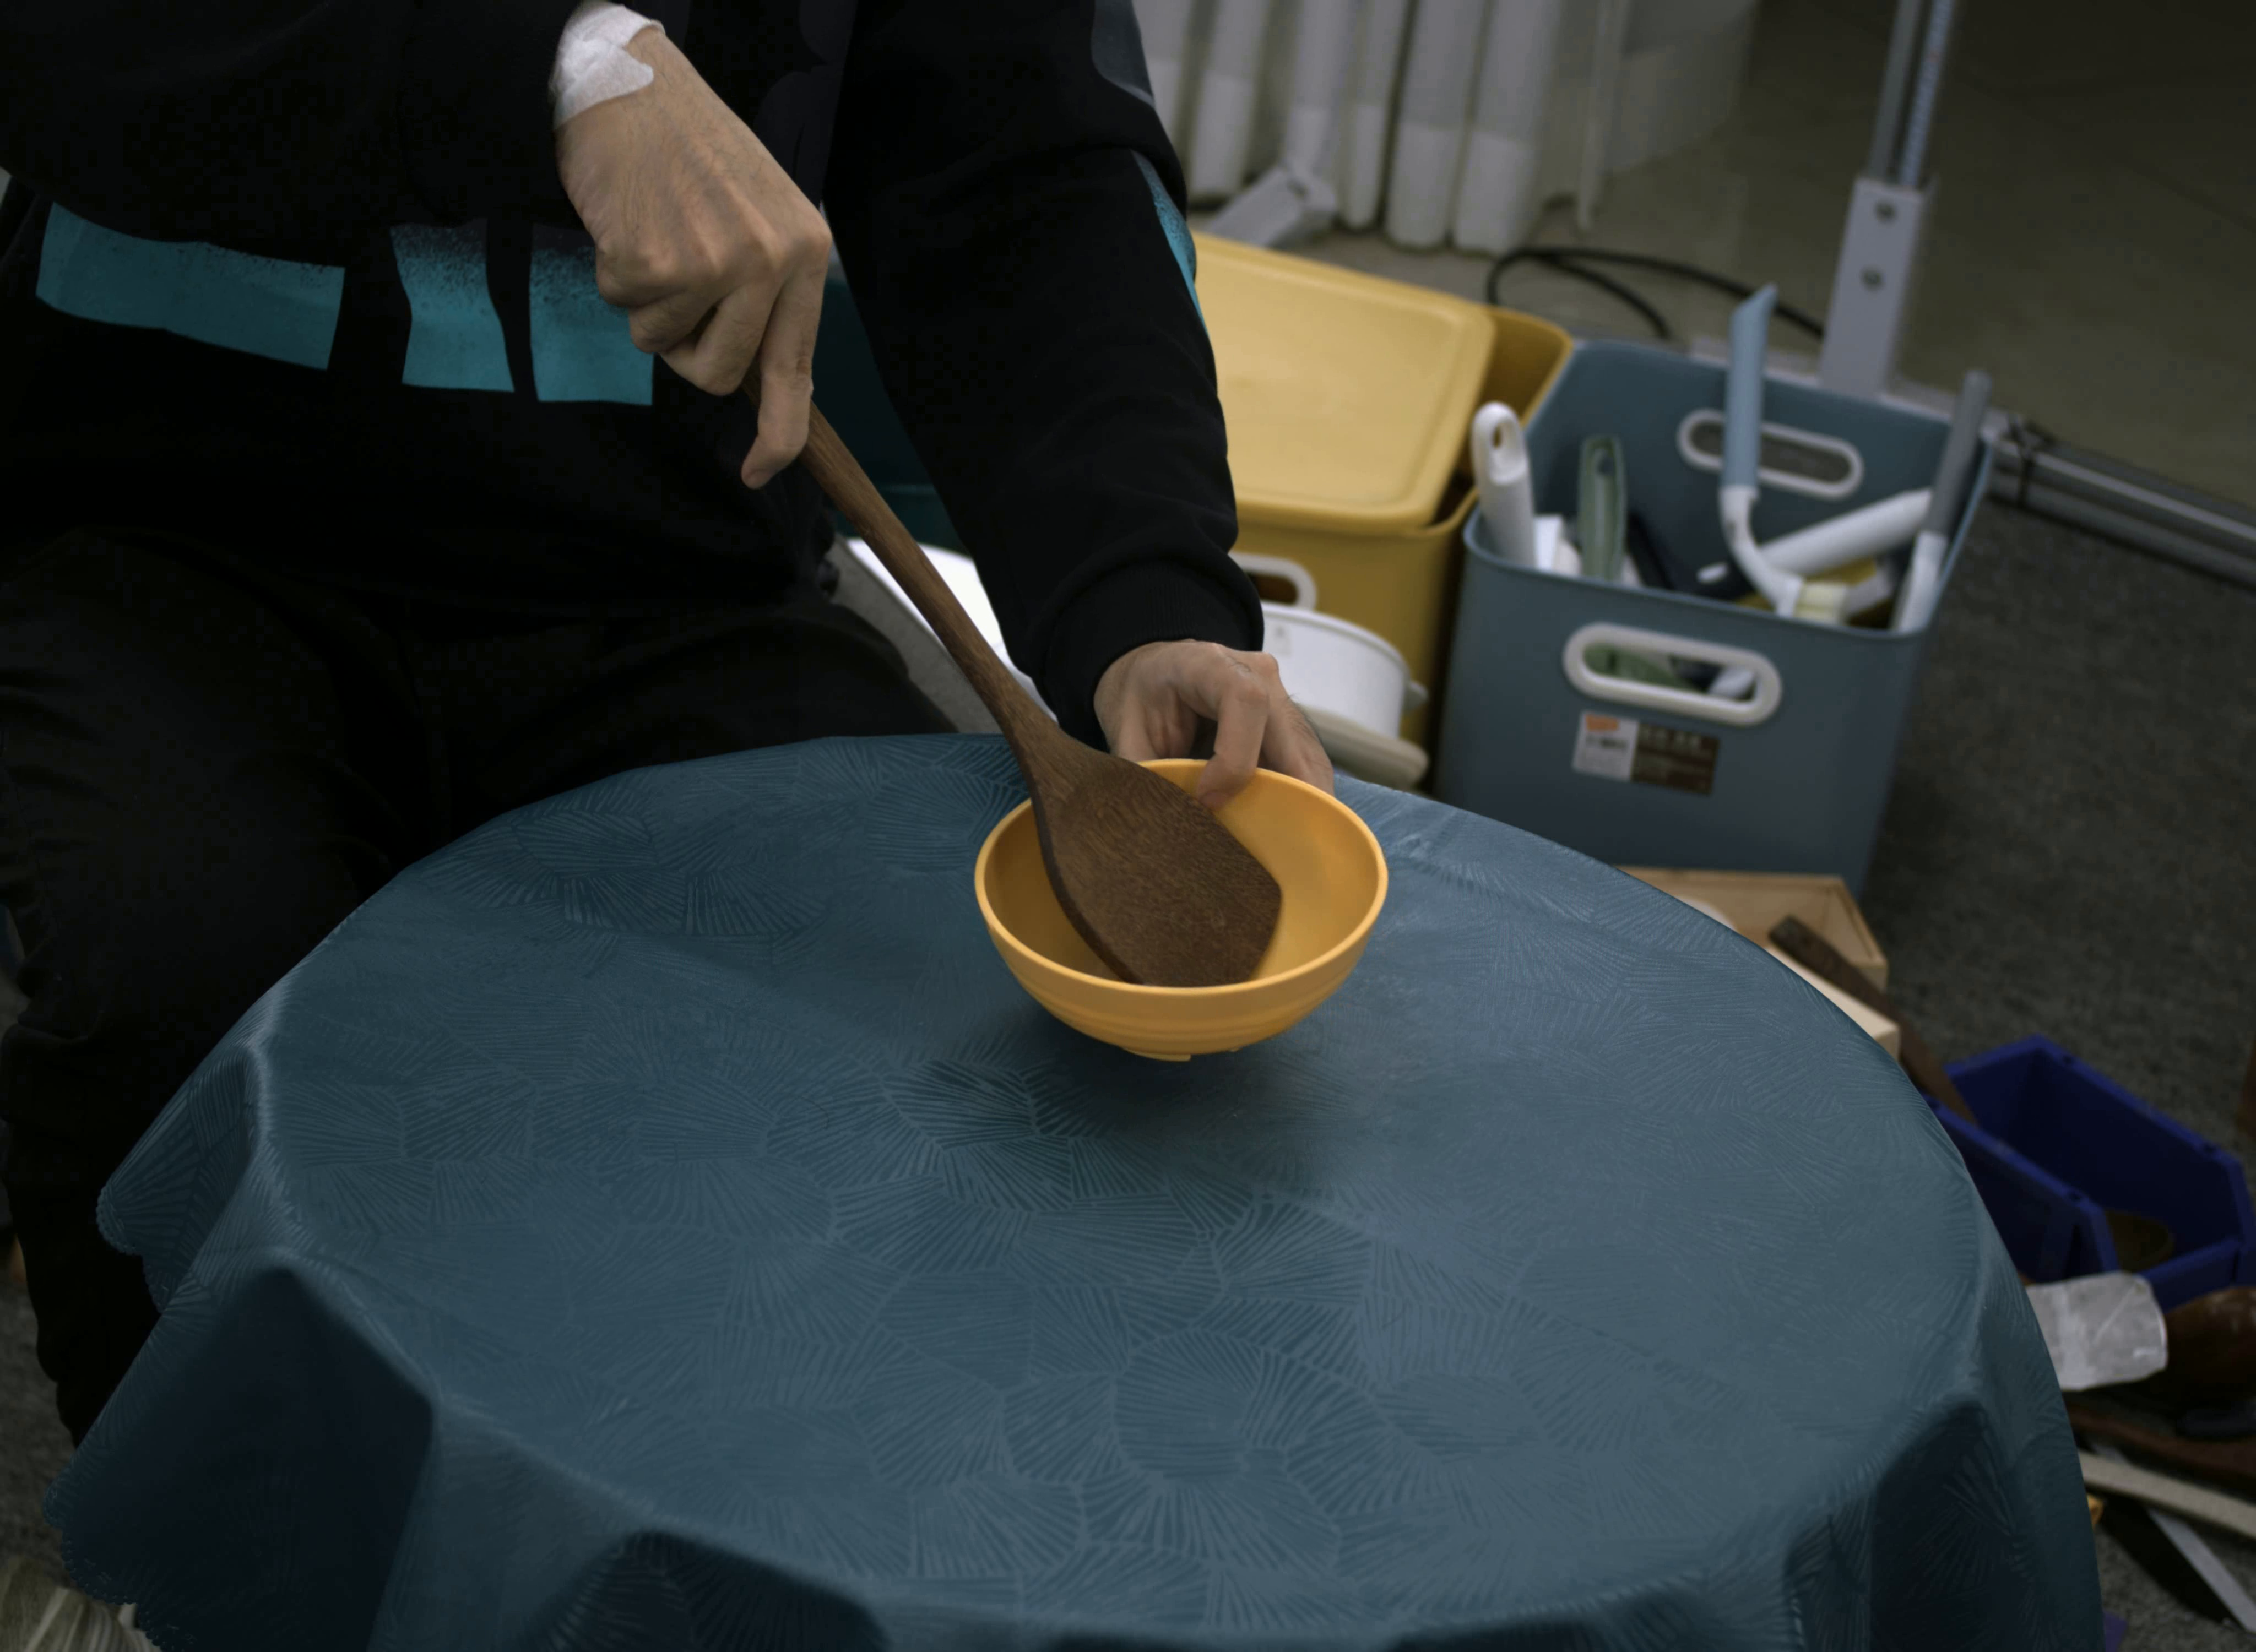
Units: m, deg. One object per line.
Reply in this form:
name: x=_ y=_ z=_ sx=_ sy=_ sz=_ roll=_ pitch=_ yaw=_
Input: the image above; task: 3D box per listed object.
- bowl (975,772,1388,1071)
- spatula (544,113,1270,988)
bowl: x=0.018 y=0.043 z=1.871 sx=0.145 sy=0.060 sz=0.146 roll=1 pitch=32 yaw=-1
spatula: x=-0.081 y=-0.096 z=1.863 sx=0.385 sy=0.016 sz=0.096 roll=52 pitch=39 yaw=-6
